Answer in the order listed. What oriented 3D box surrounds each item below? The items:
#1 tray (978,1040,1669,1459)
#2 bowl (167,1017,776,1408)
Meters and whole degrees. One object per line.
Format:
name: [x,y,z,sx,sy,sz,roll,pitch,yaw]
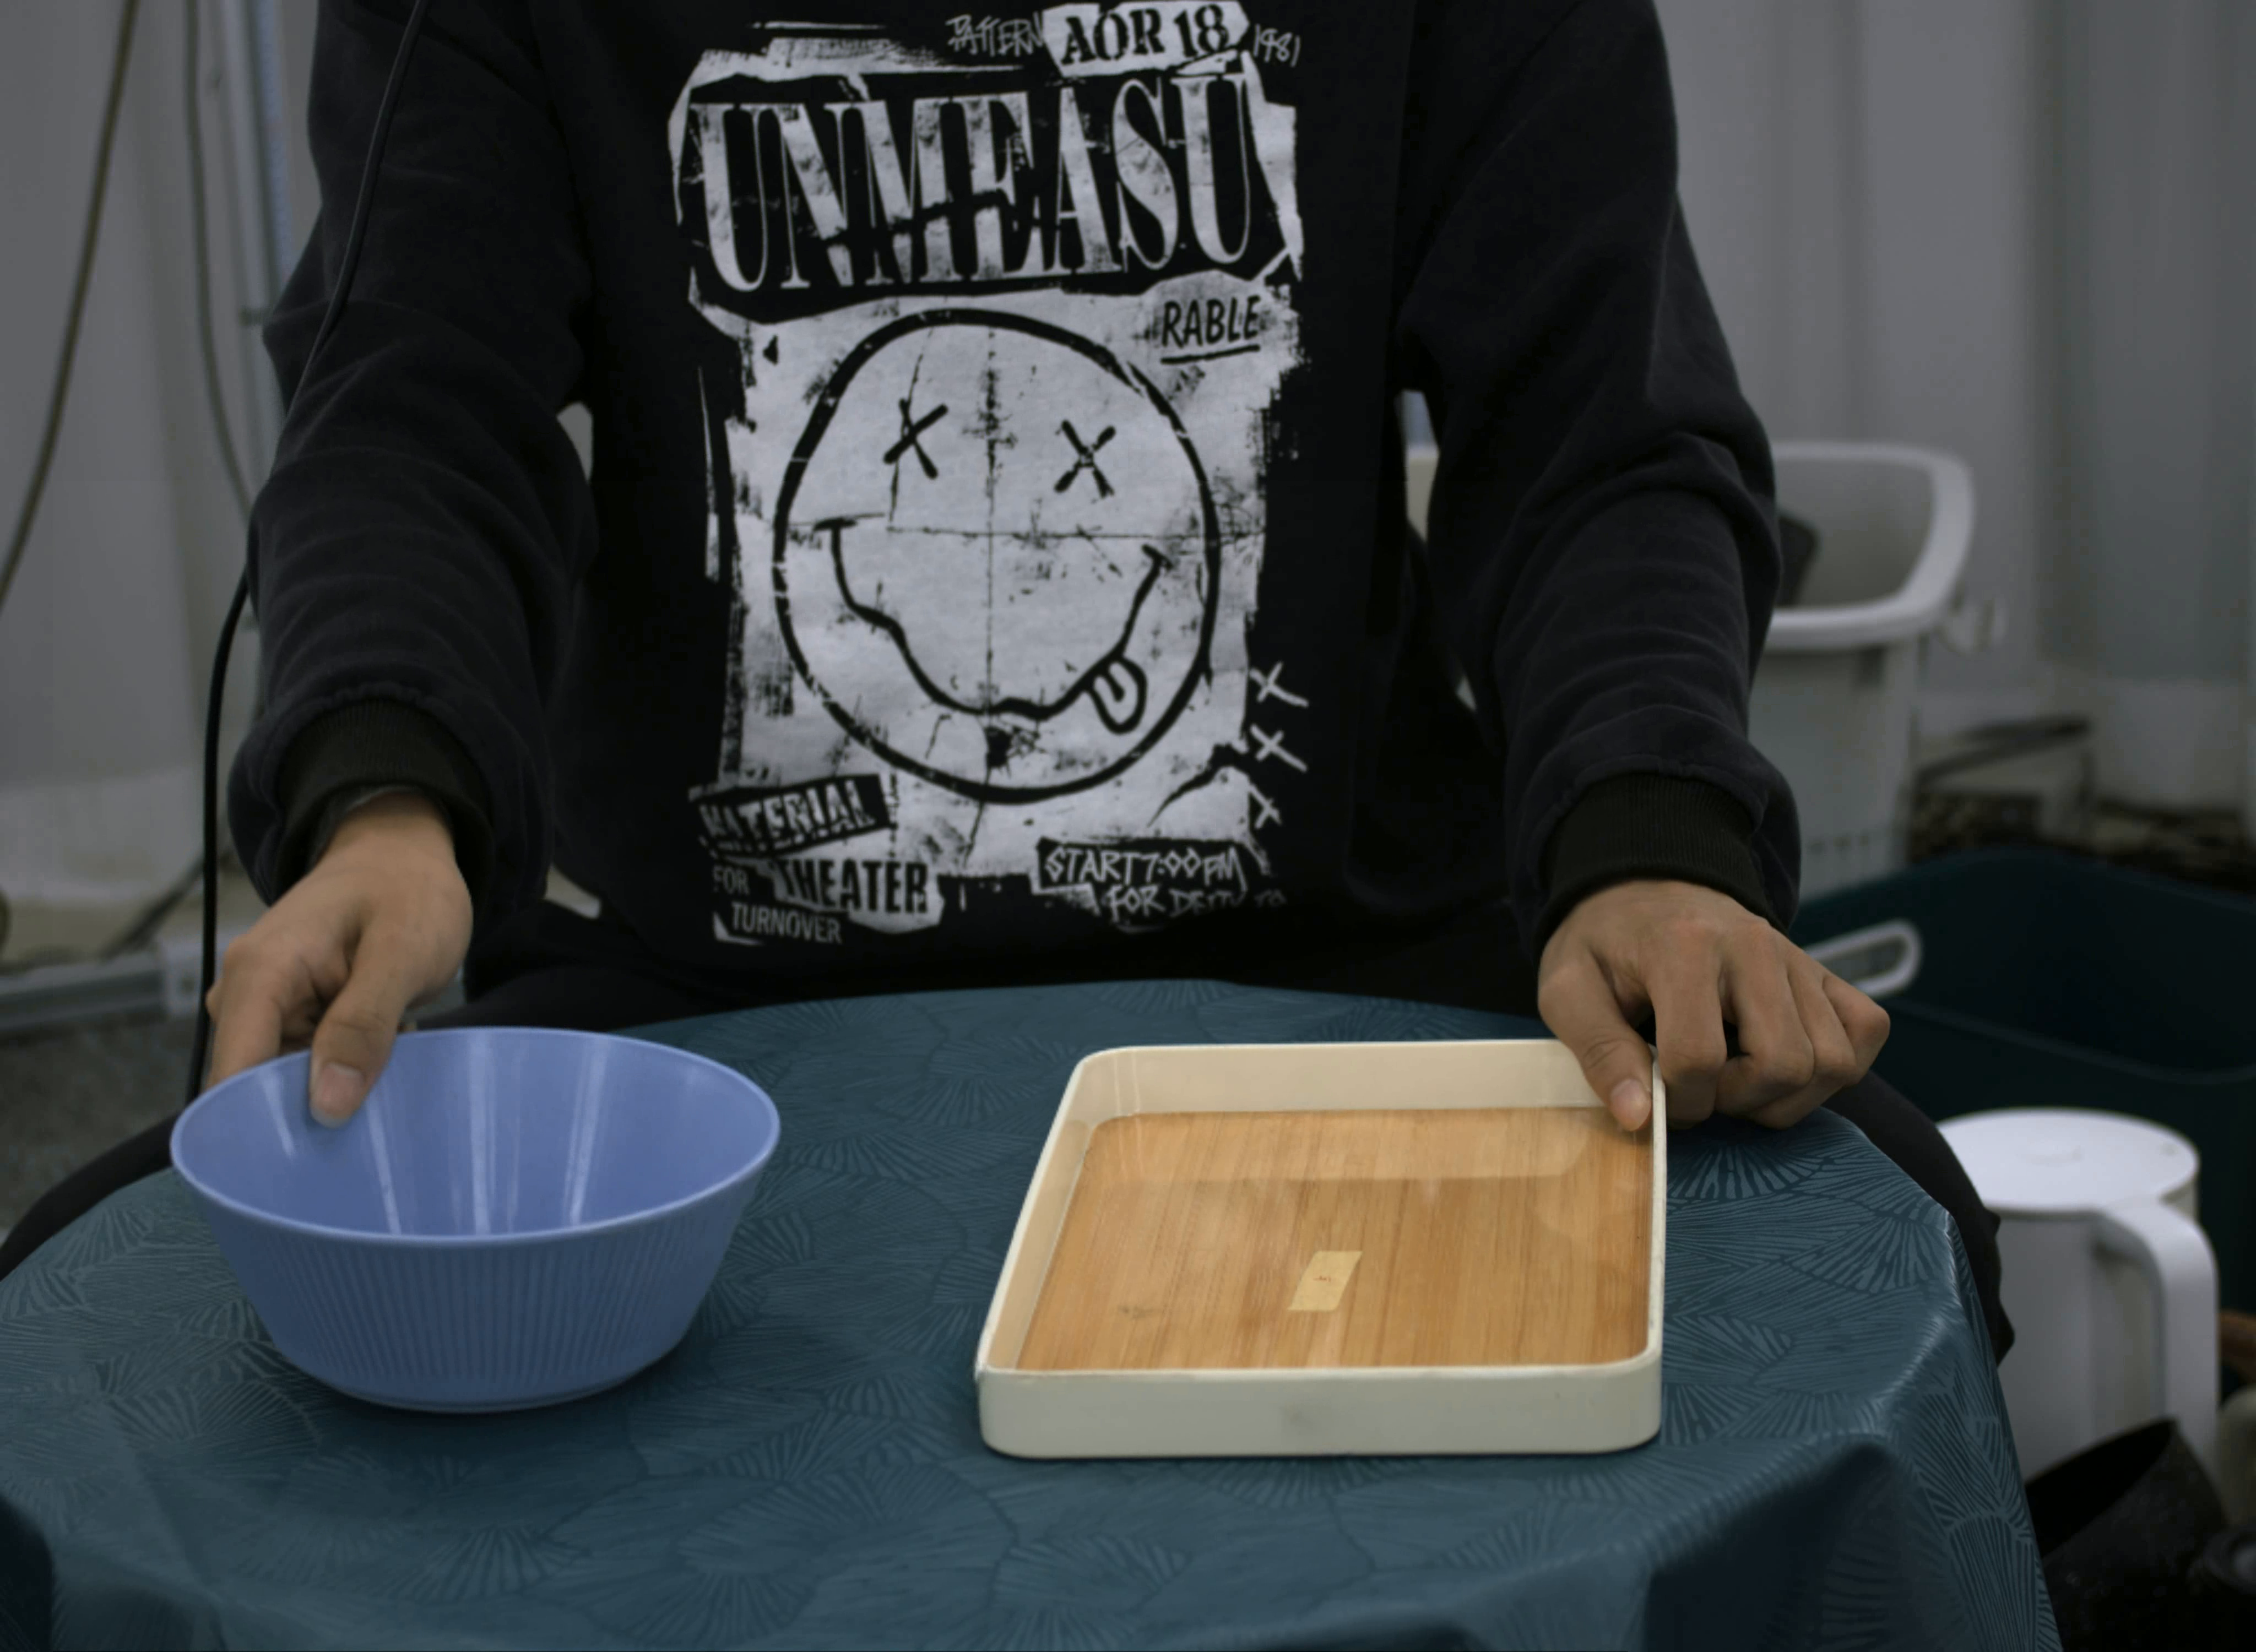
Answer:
tray: [0.065,0.122,1.625,0.191,0.027,0.302,-1,15,6]
bowl: [-0.190,0.116,1.591,0.175,0.070,0.177,1,18,-1]
